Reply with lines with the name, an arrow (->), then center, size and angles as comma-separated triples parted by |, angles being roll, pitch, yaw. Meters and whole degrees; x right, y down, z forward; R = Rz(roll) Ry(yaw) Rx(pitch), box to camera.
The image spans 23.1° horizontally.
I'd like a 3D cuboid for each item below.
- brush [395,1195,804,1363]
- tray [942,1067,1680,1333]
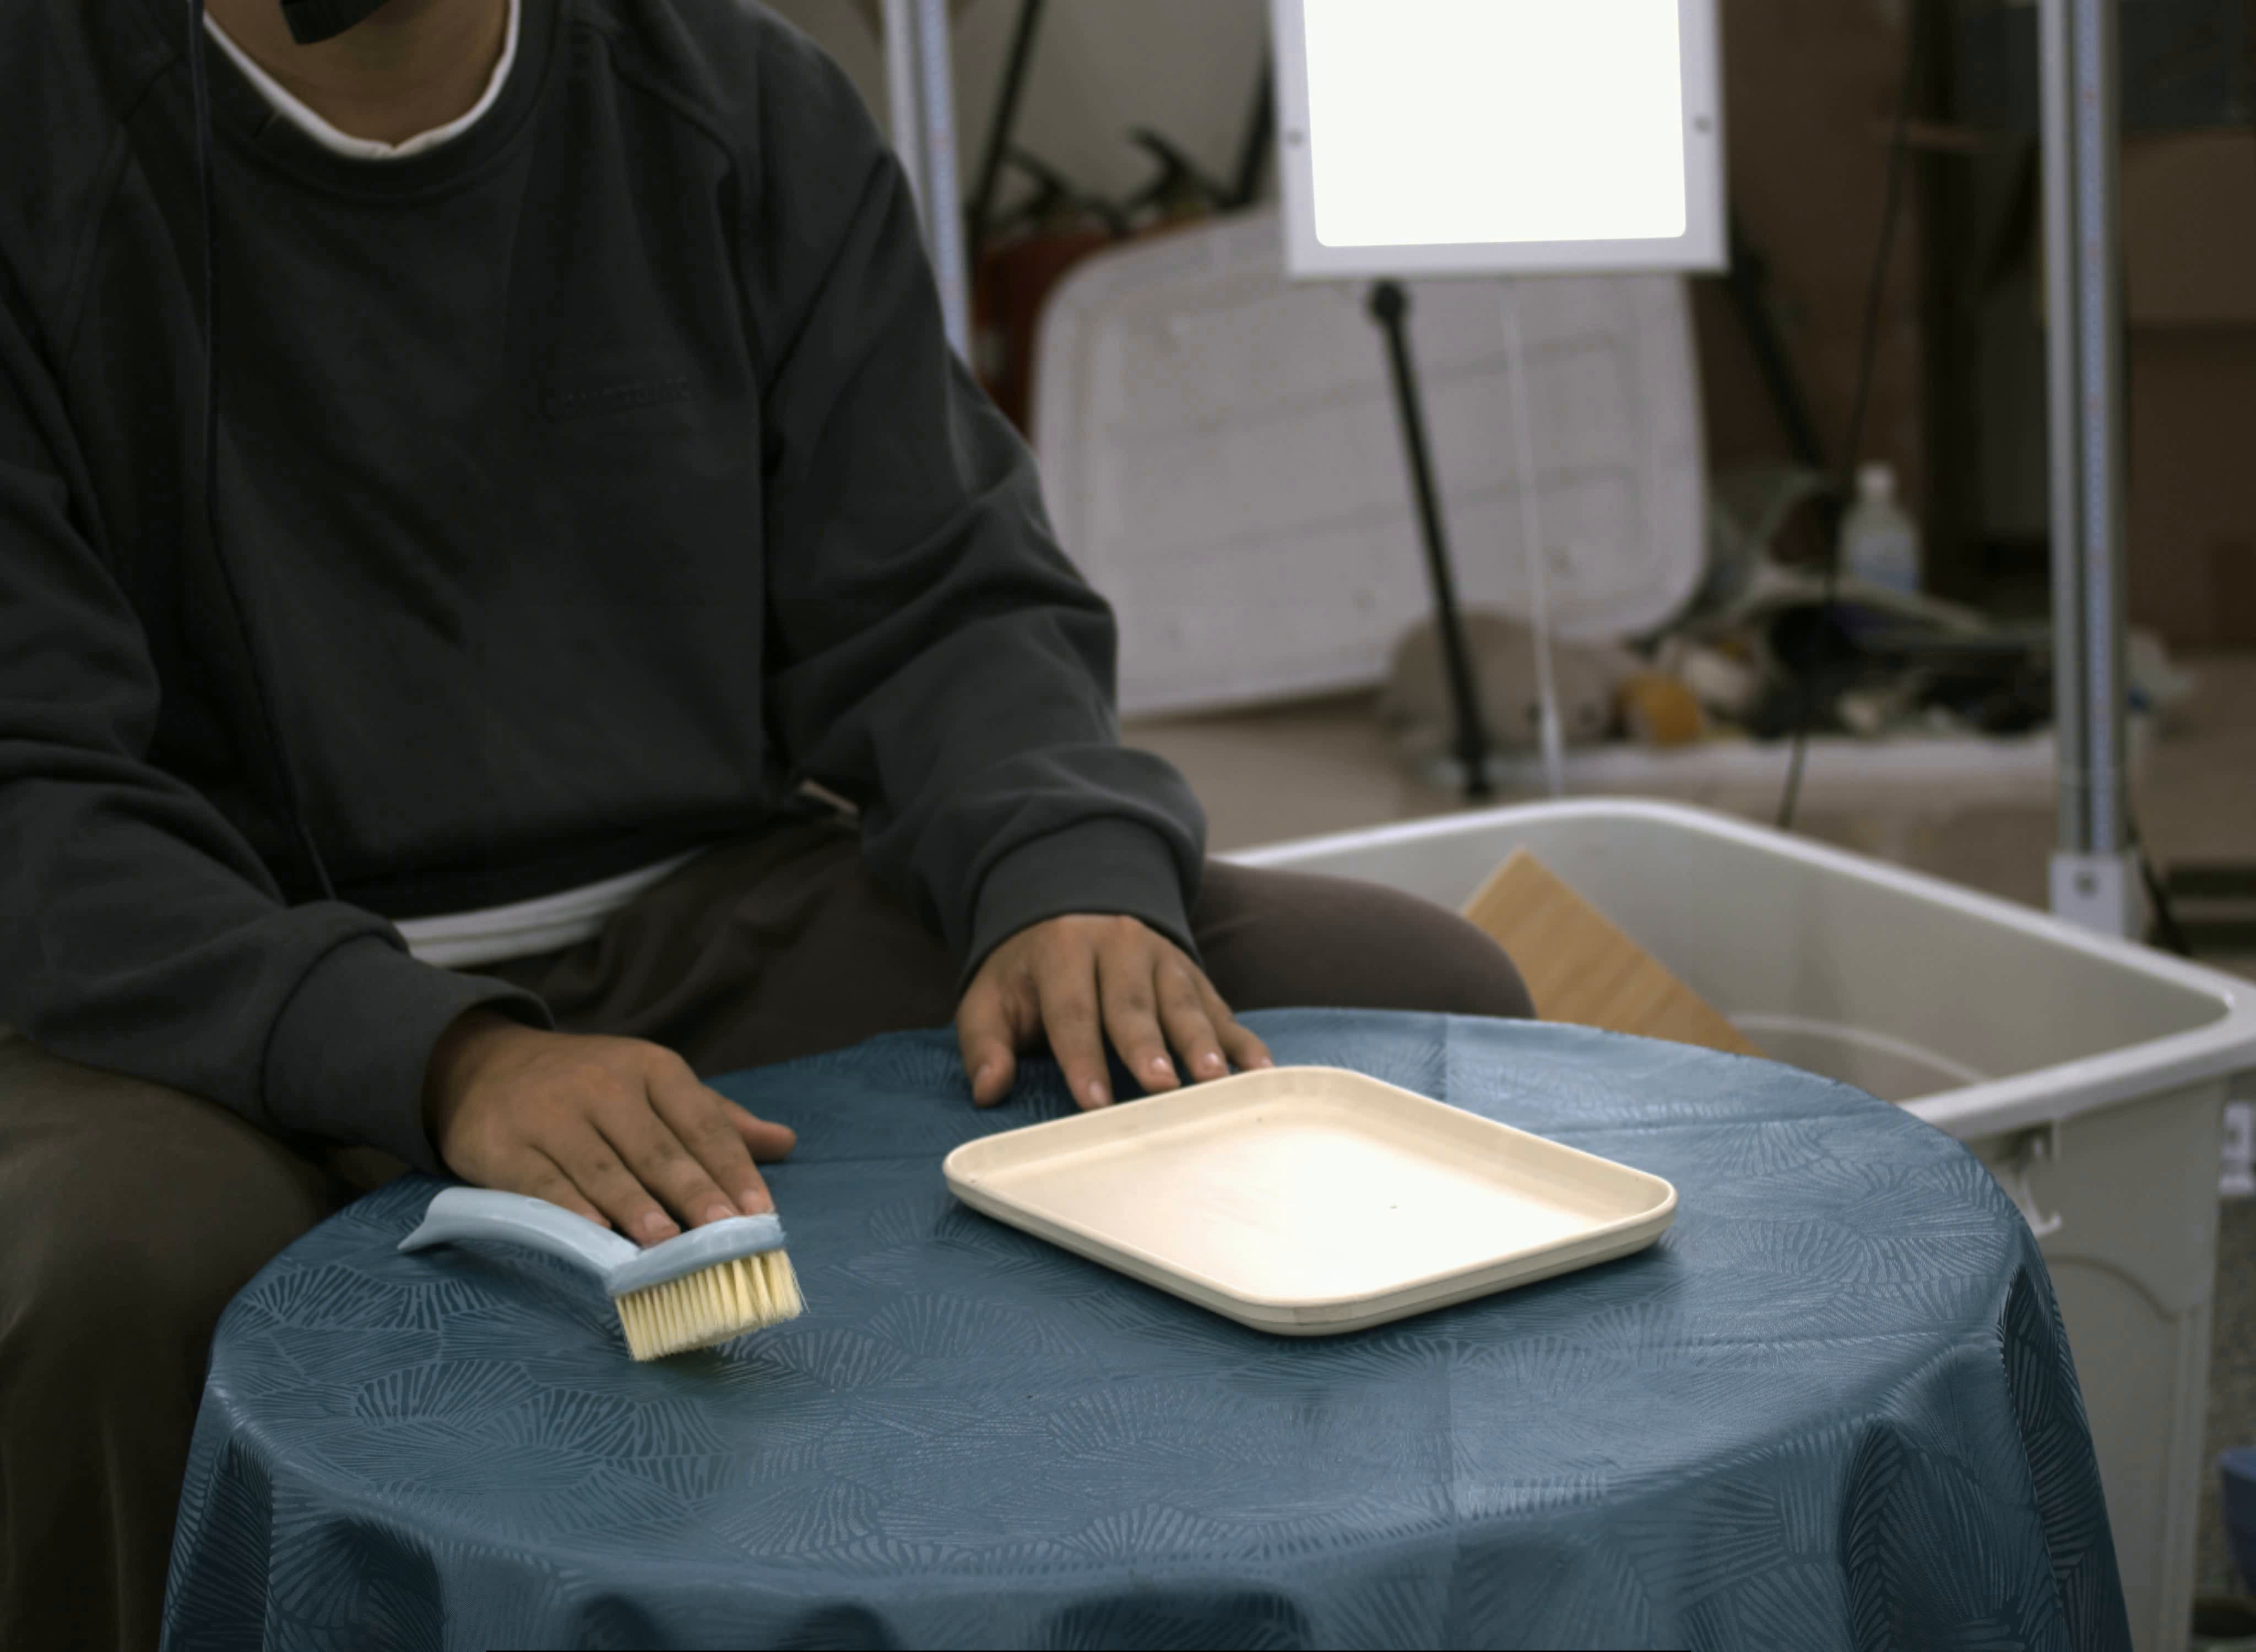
brush -> -0.178, 0.147, 1.812 | 0.037, 0.050, 0.234 | -6, 3, -37
tray -> 0.059, 0.124, 1.847 | 0.167, 0.017, 0.244 | -12, 15, -29
